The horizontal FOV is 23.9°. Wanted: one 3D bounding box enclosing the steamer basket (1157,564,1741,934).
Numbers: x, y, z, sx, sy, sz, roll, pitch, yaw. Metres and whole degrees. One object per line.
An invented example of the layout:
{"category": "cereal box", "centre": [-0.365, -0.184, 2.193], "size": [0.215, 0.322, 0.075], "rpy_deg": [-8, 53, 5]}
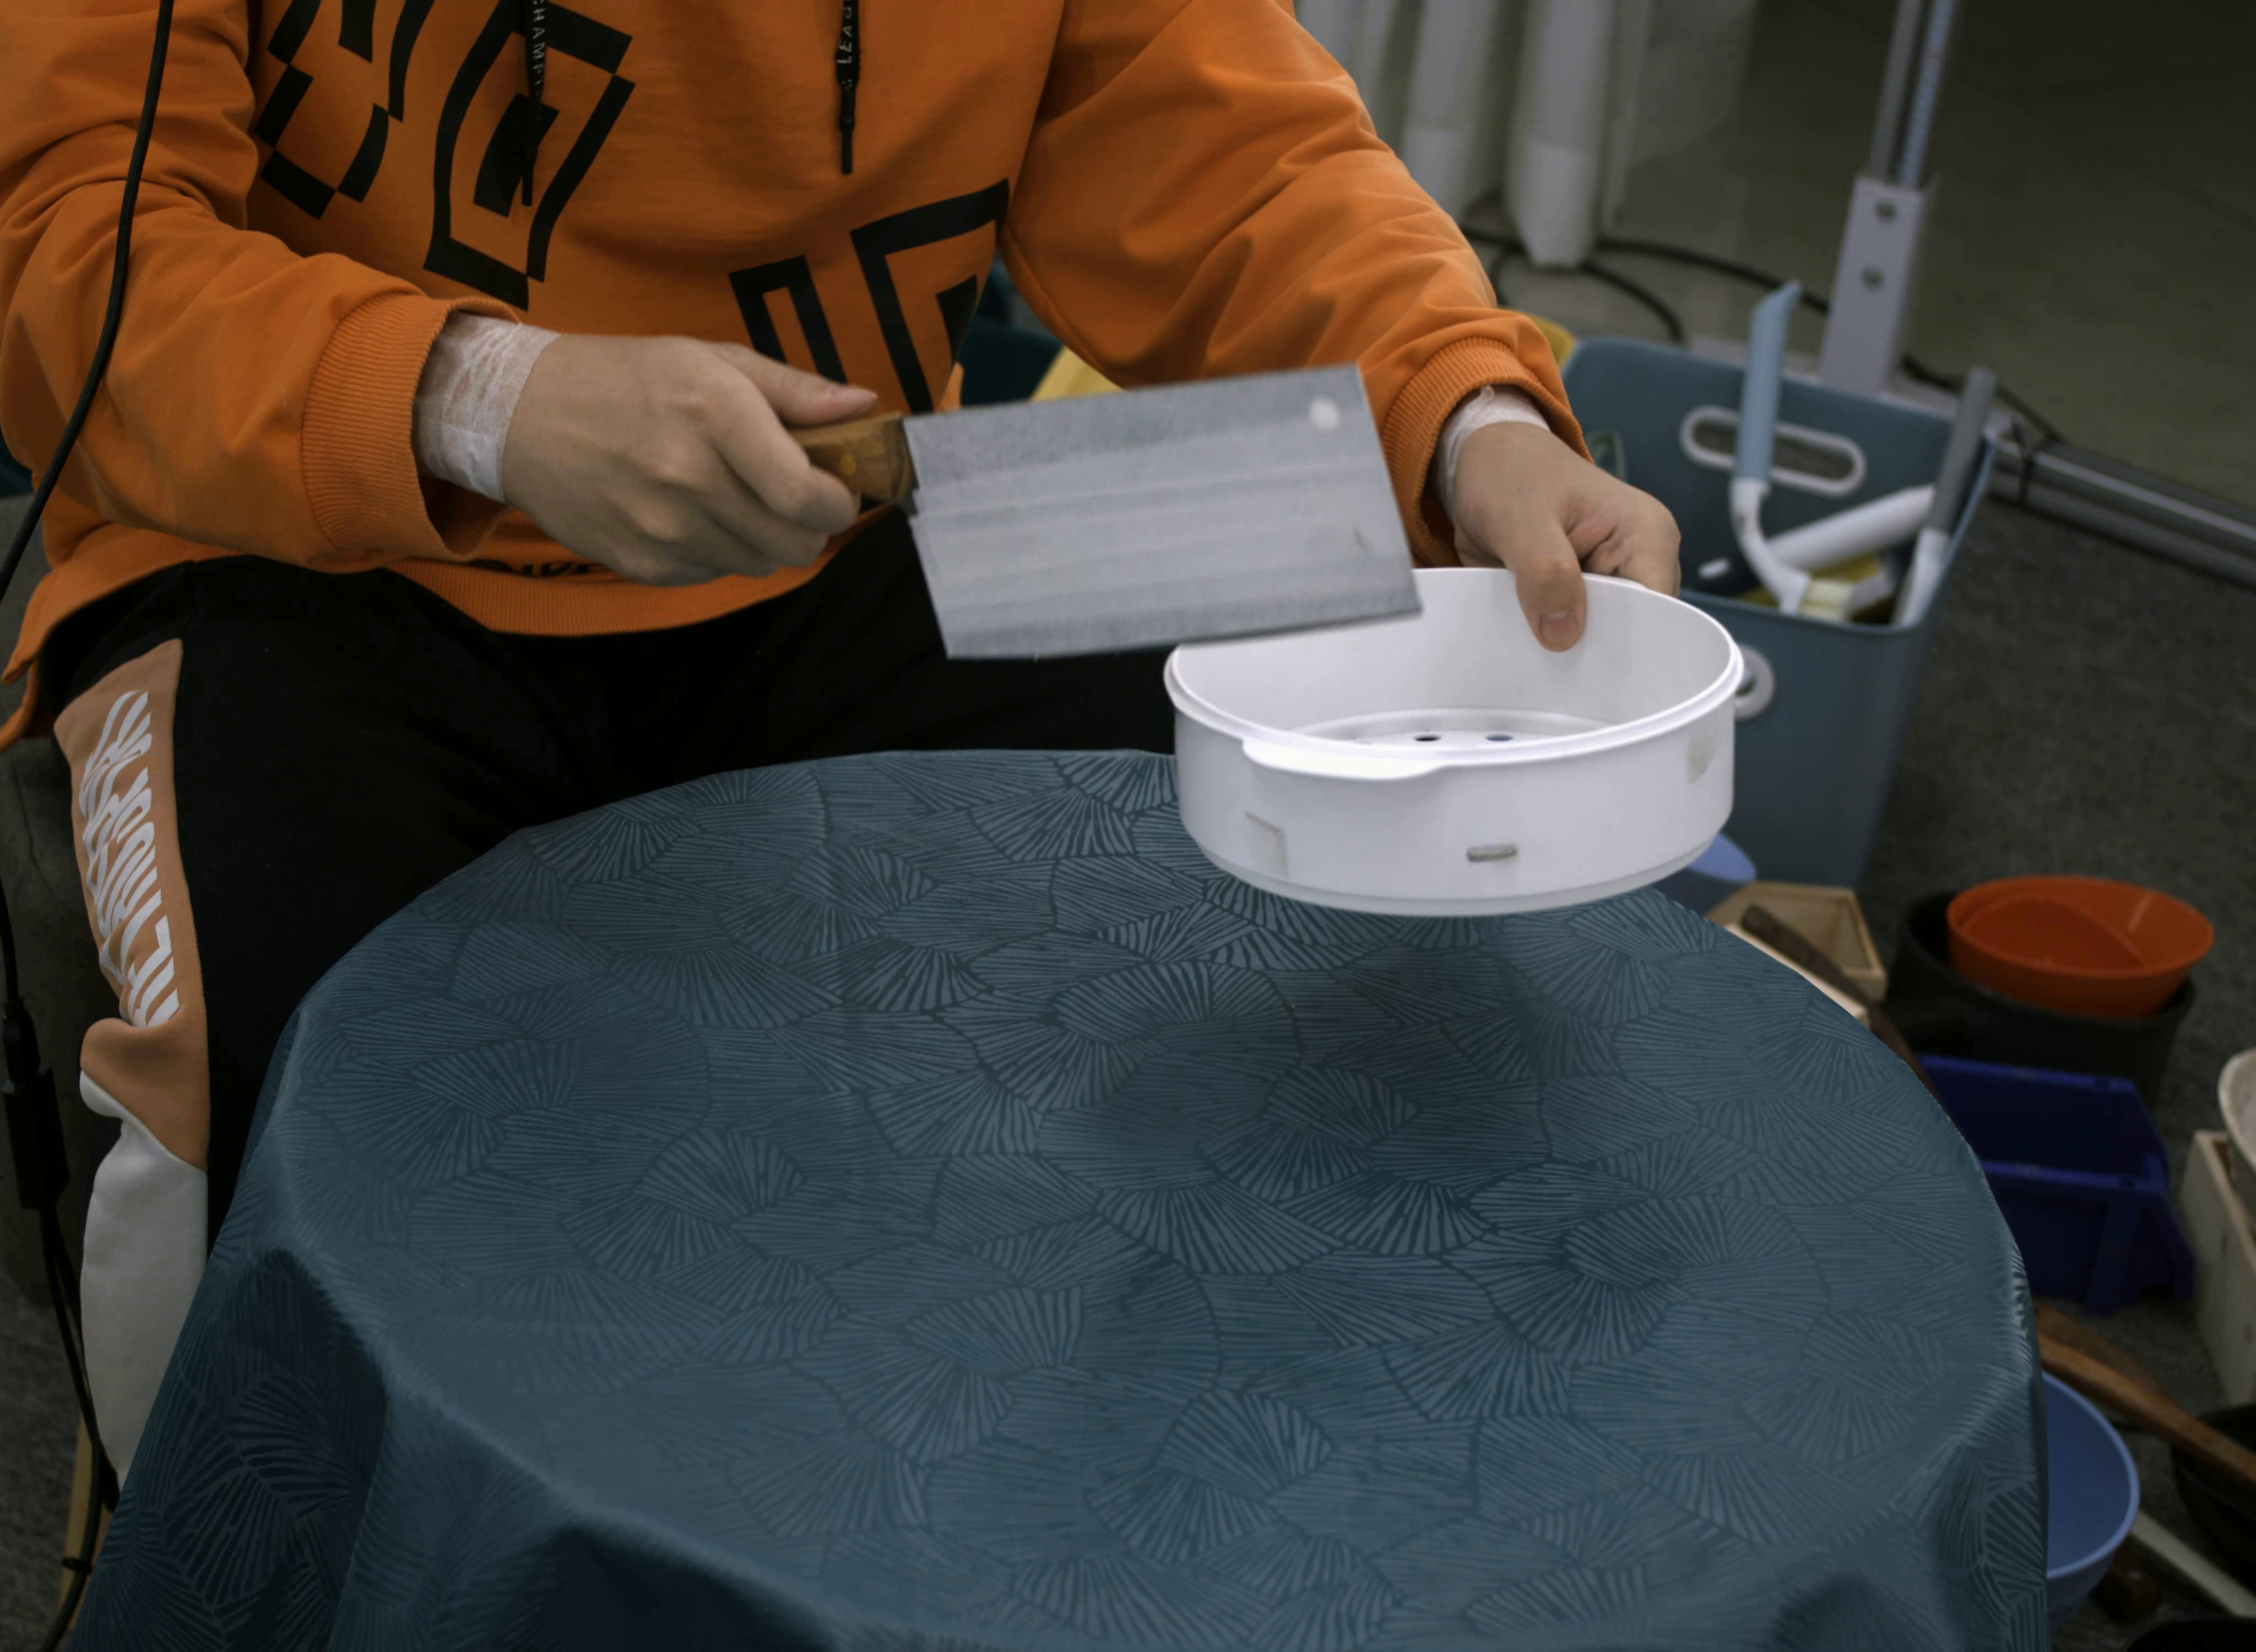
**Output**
{"category": "steamer basket", "centre": [0.112, -0.026, 1.845], "size": [0.202, 0.069, 0.230], "rpy_deg": [7, 24, 24]}

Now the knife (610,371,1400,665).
{"category": "knife", "centre": [-0.044, -0.099, 1.811], "size": [0.307, 0.092, 0.021], "rpy_deg": [-4, 22, 33]}
